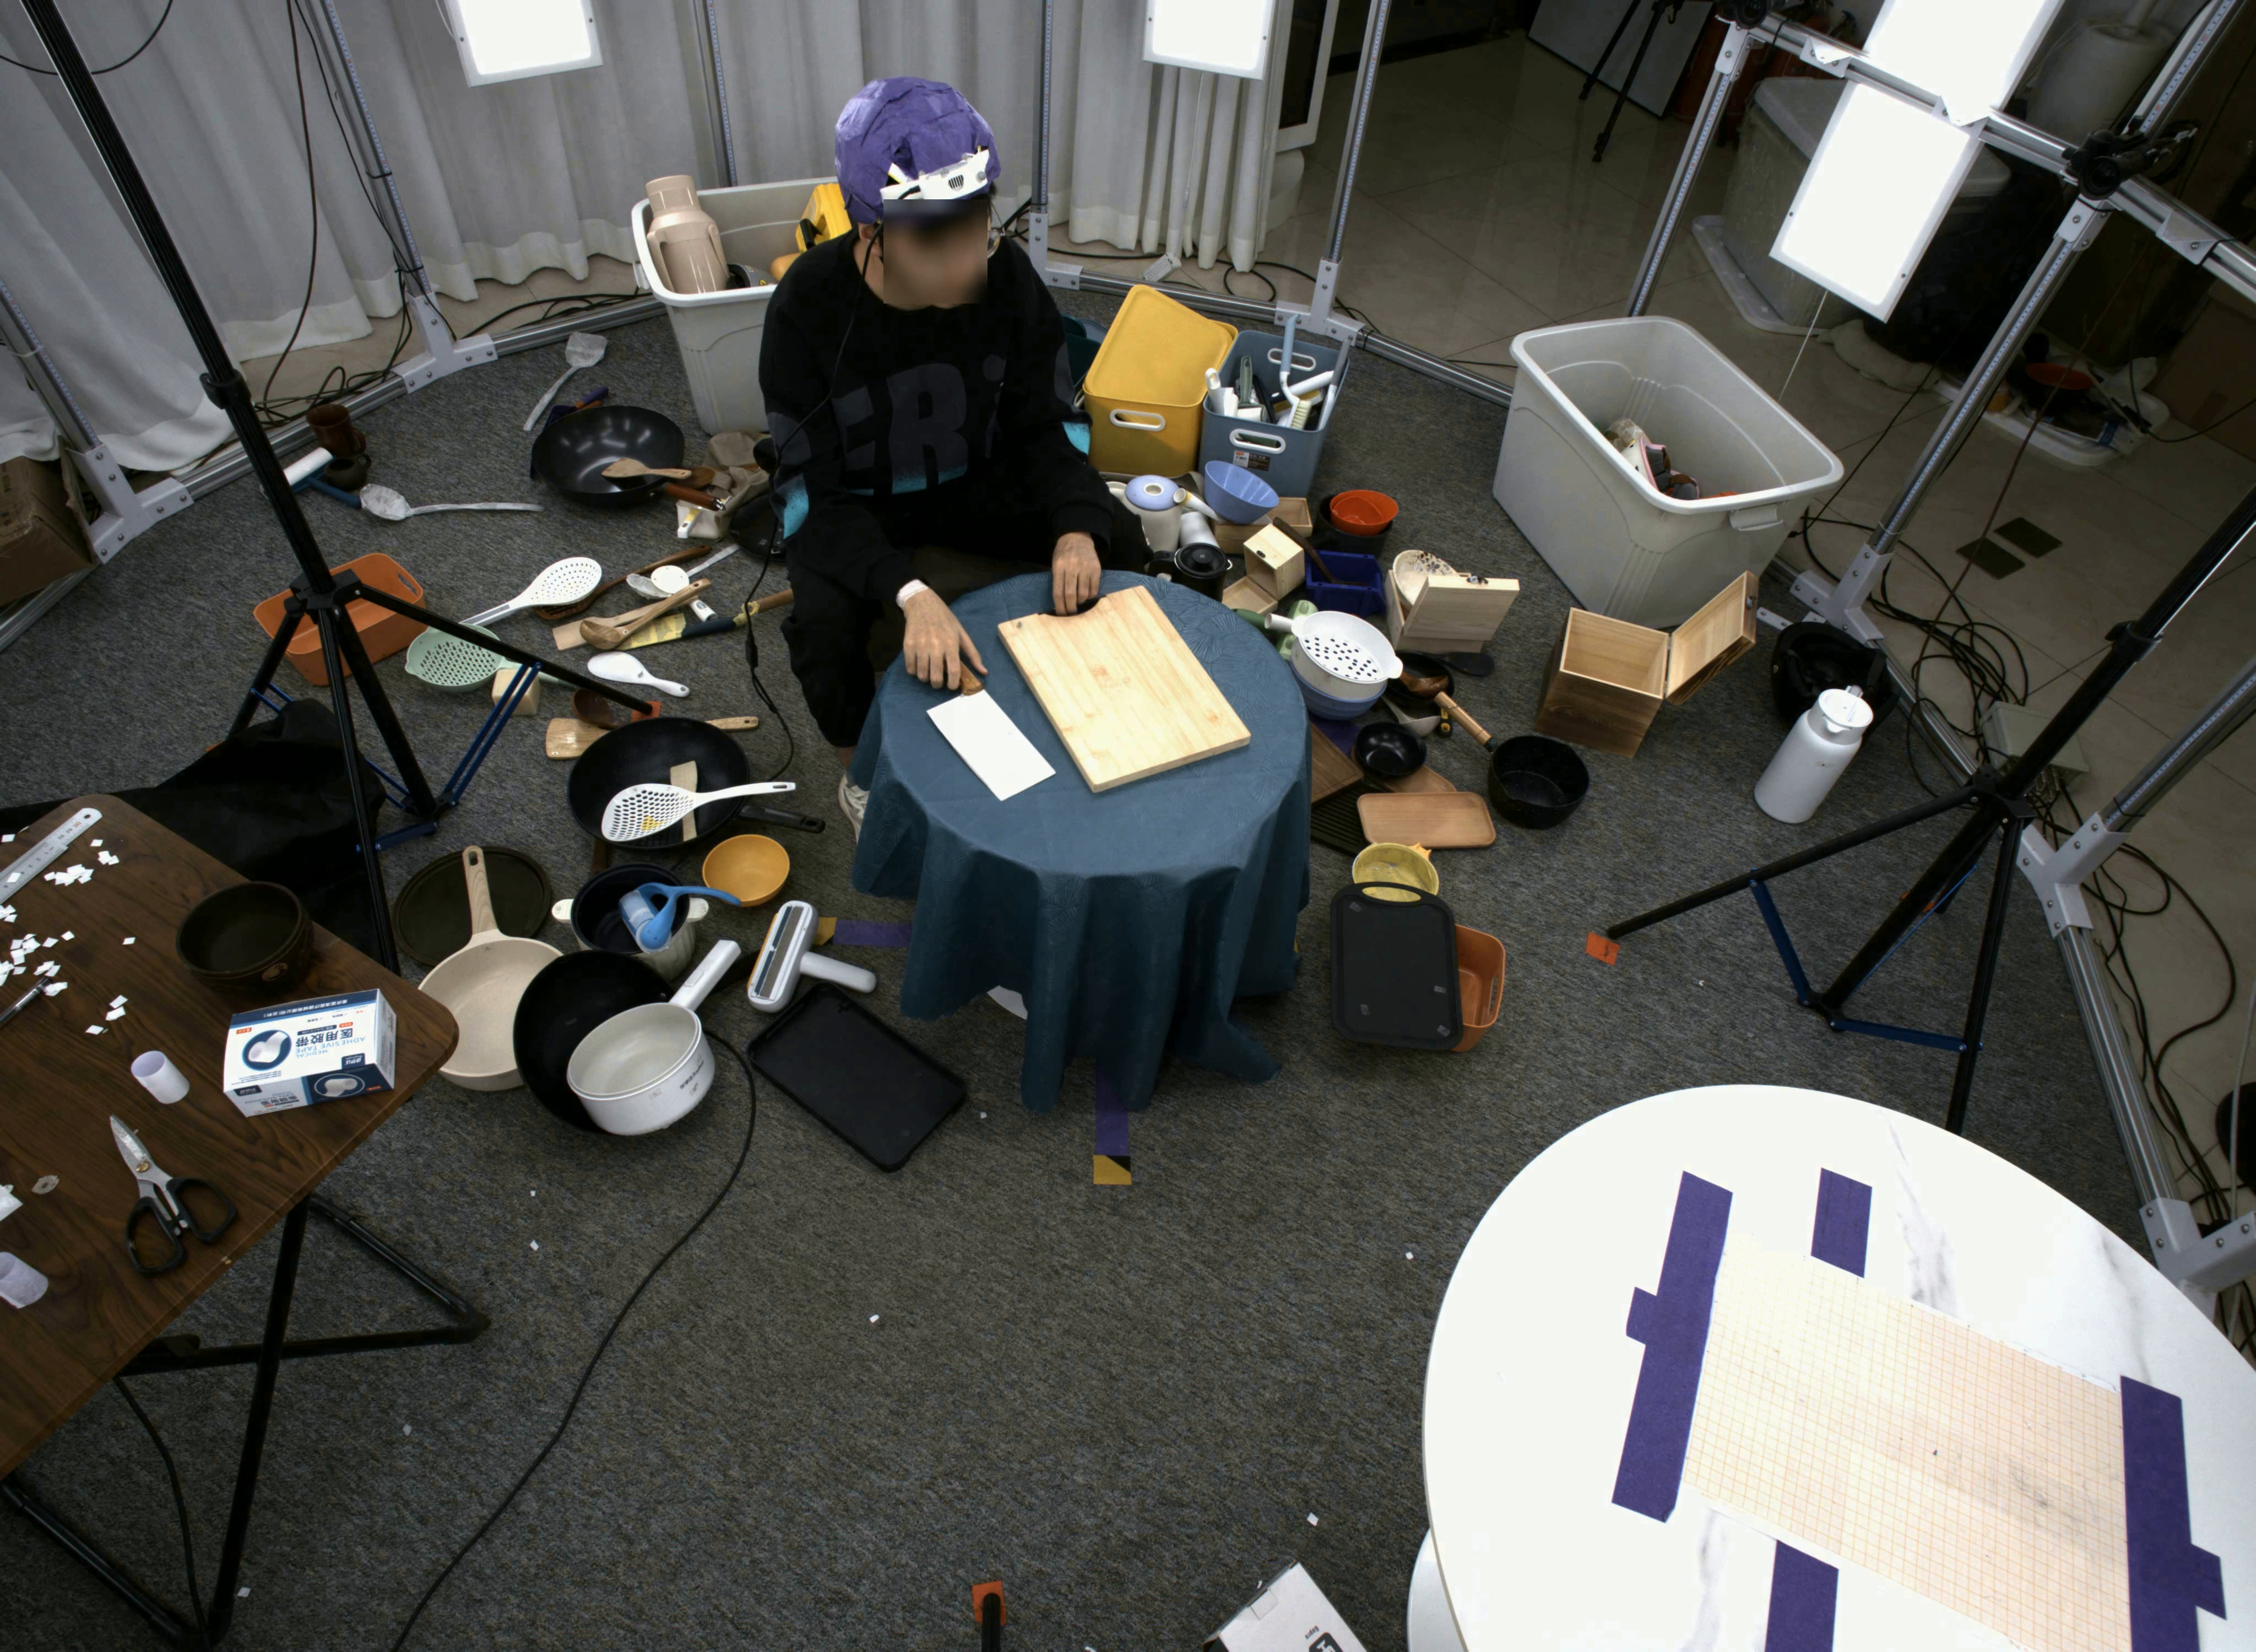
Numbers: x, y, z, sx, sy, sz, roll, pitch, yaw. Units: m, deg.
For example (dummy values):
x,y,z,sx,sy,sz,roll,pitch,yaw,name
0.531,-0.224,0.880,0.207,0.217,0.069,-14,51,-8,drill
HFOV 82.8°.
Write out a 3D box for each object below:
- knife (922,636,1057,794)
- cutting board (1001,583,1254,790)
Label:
x,y,z,sx,sy,sz,roll,pitch,yaw,name
-0.216,-0.154,1.778,0.093,0.020,0.311,-28,58,-23,knife
-0.007,-0.208,1.838,0.251,0.023,0.356,-19,53,-19,cutting board
